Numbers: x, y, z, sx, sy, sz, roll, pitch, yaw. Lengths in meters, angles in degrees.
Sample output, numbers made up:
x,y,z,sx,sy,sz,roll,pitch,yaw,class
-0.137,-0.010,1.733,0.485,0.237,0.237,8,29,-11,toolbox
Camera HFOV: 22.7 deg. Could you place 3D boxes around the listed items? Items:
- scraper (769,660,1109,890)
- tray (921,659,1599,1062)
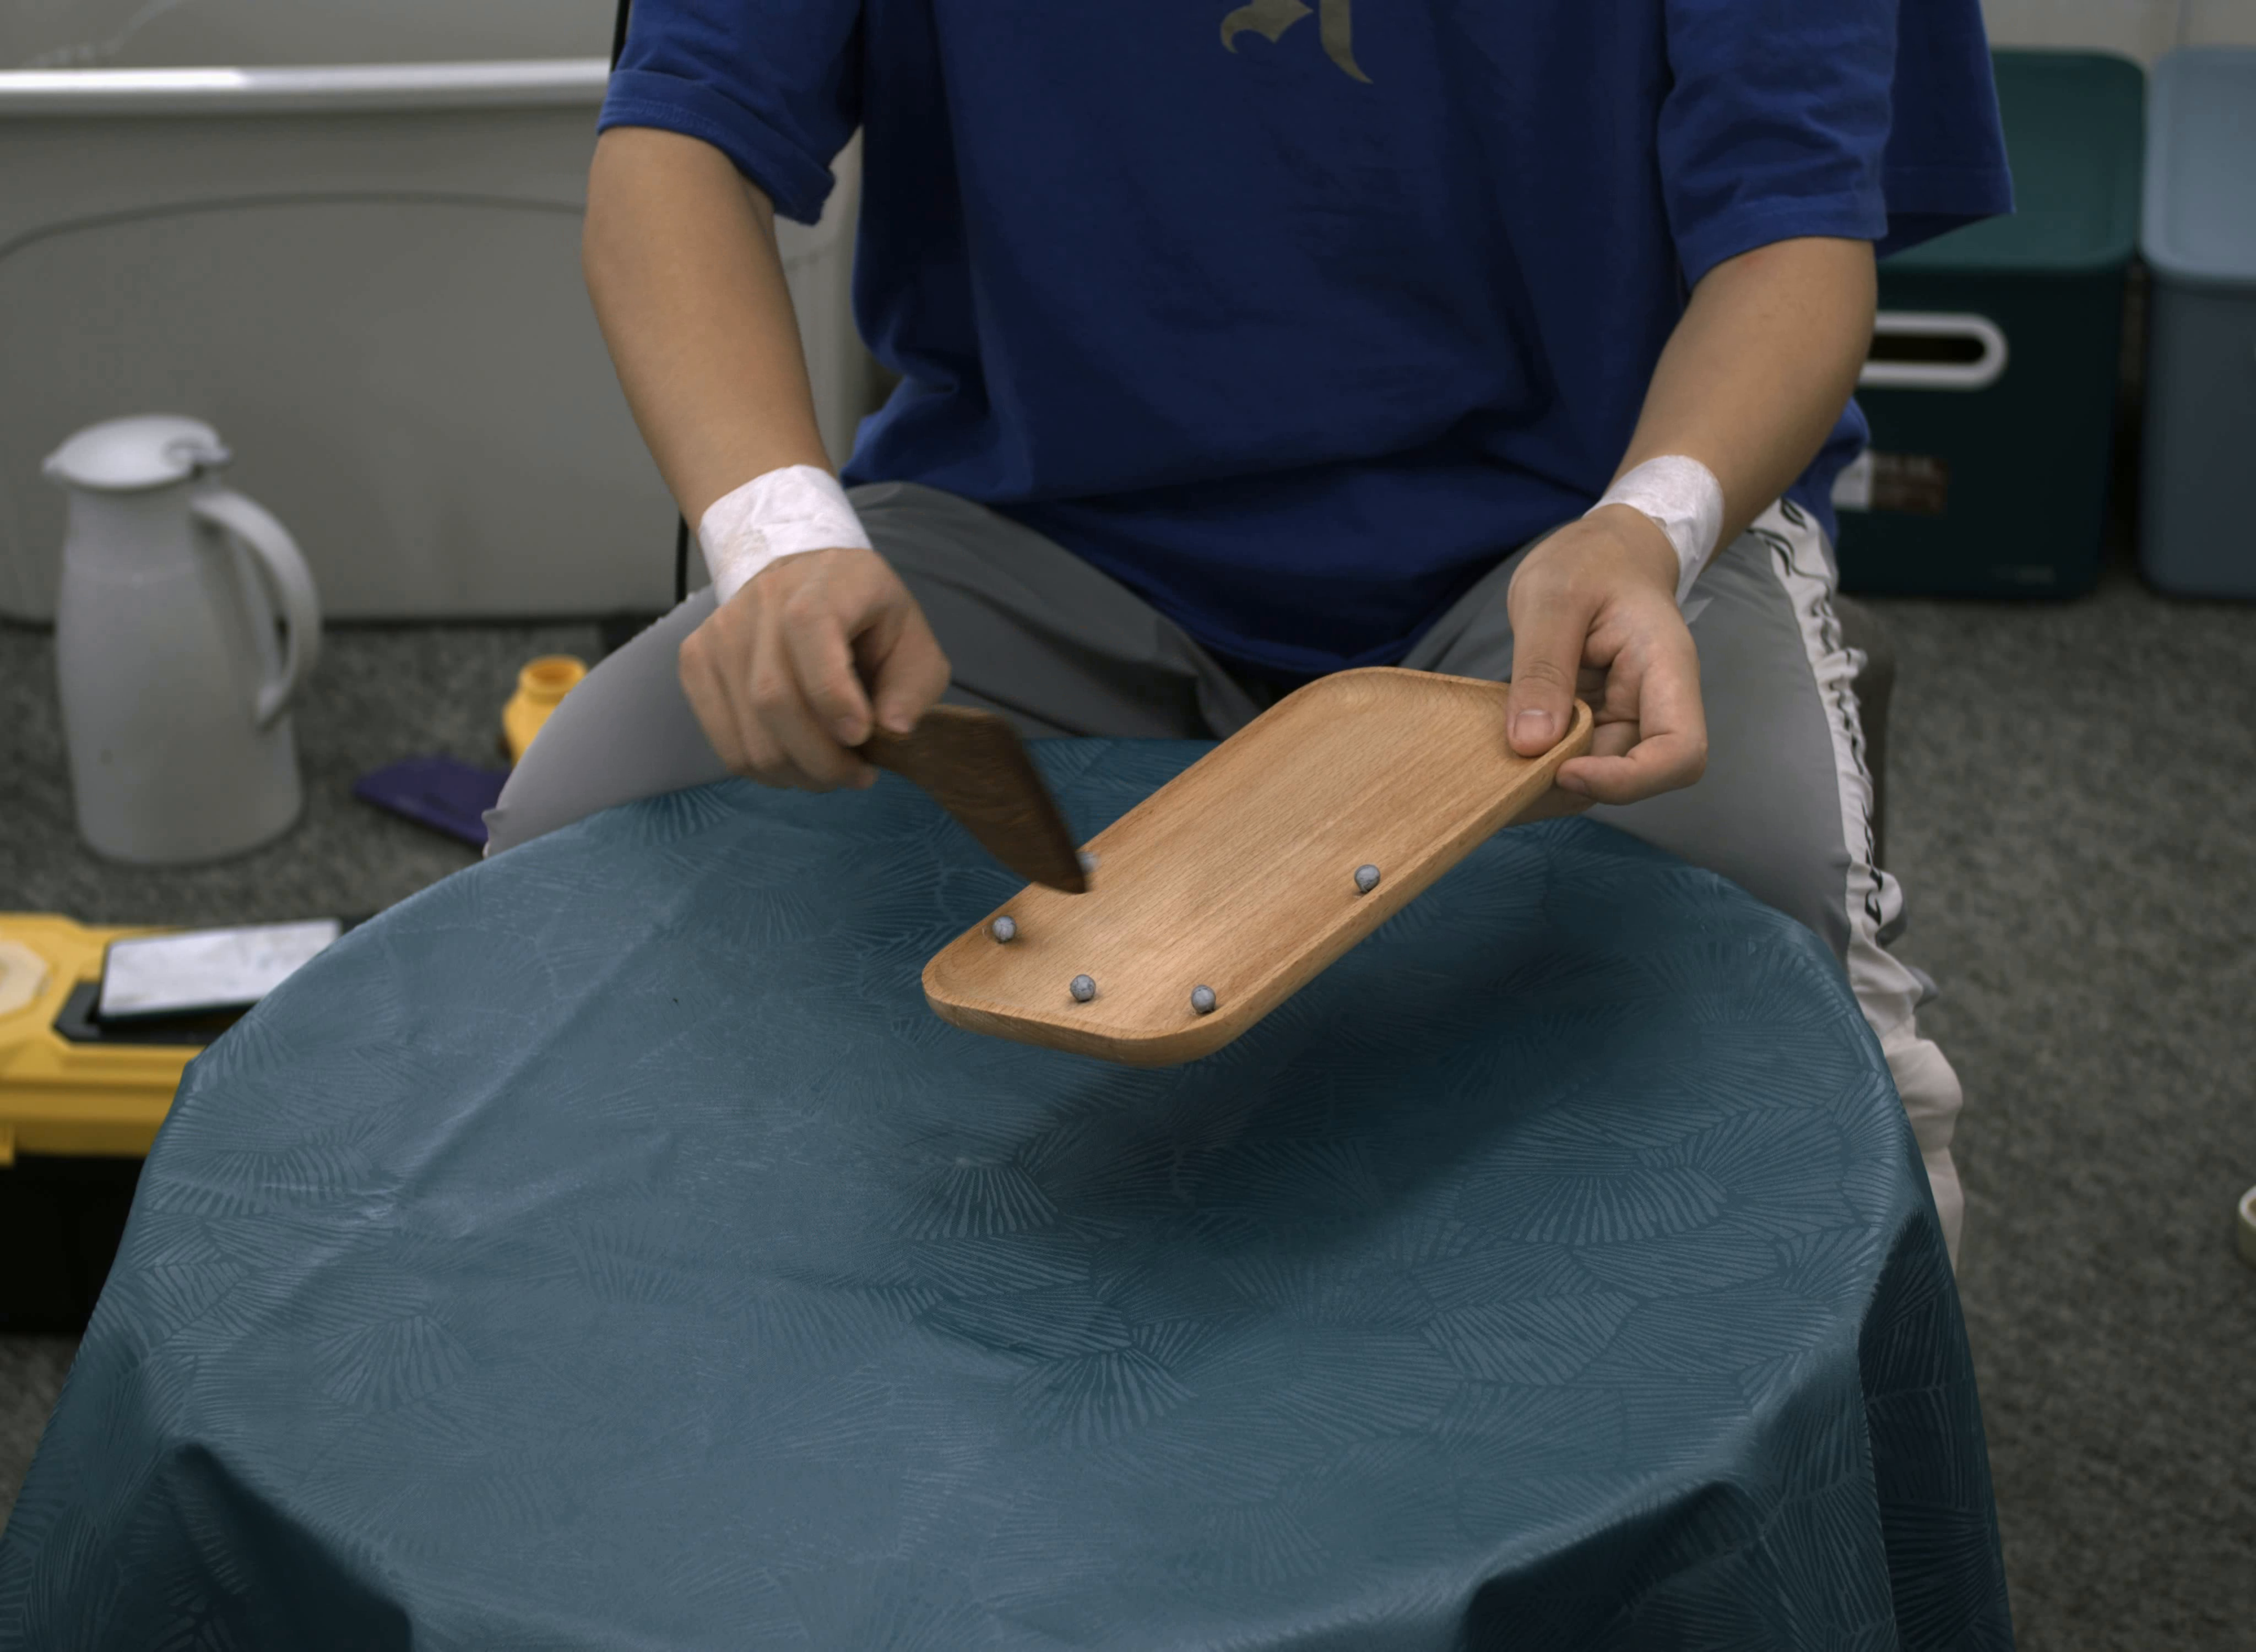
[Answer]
x,y,z,sx,sy,sz,roll,pitch,yaw,class
-0.072,-0.027,1.918,0.011,0.075,0.211,-35,26,-19,scraper
0.047,0.009,1.885,0.130,0.022,0.254,13,34,38,tray
